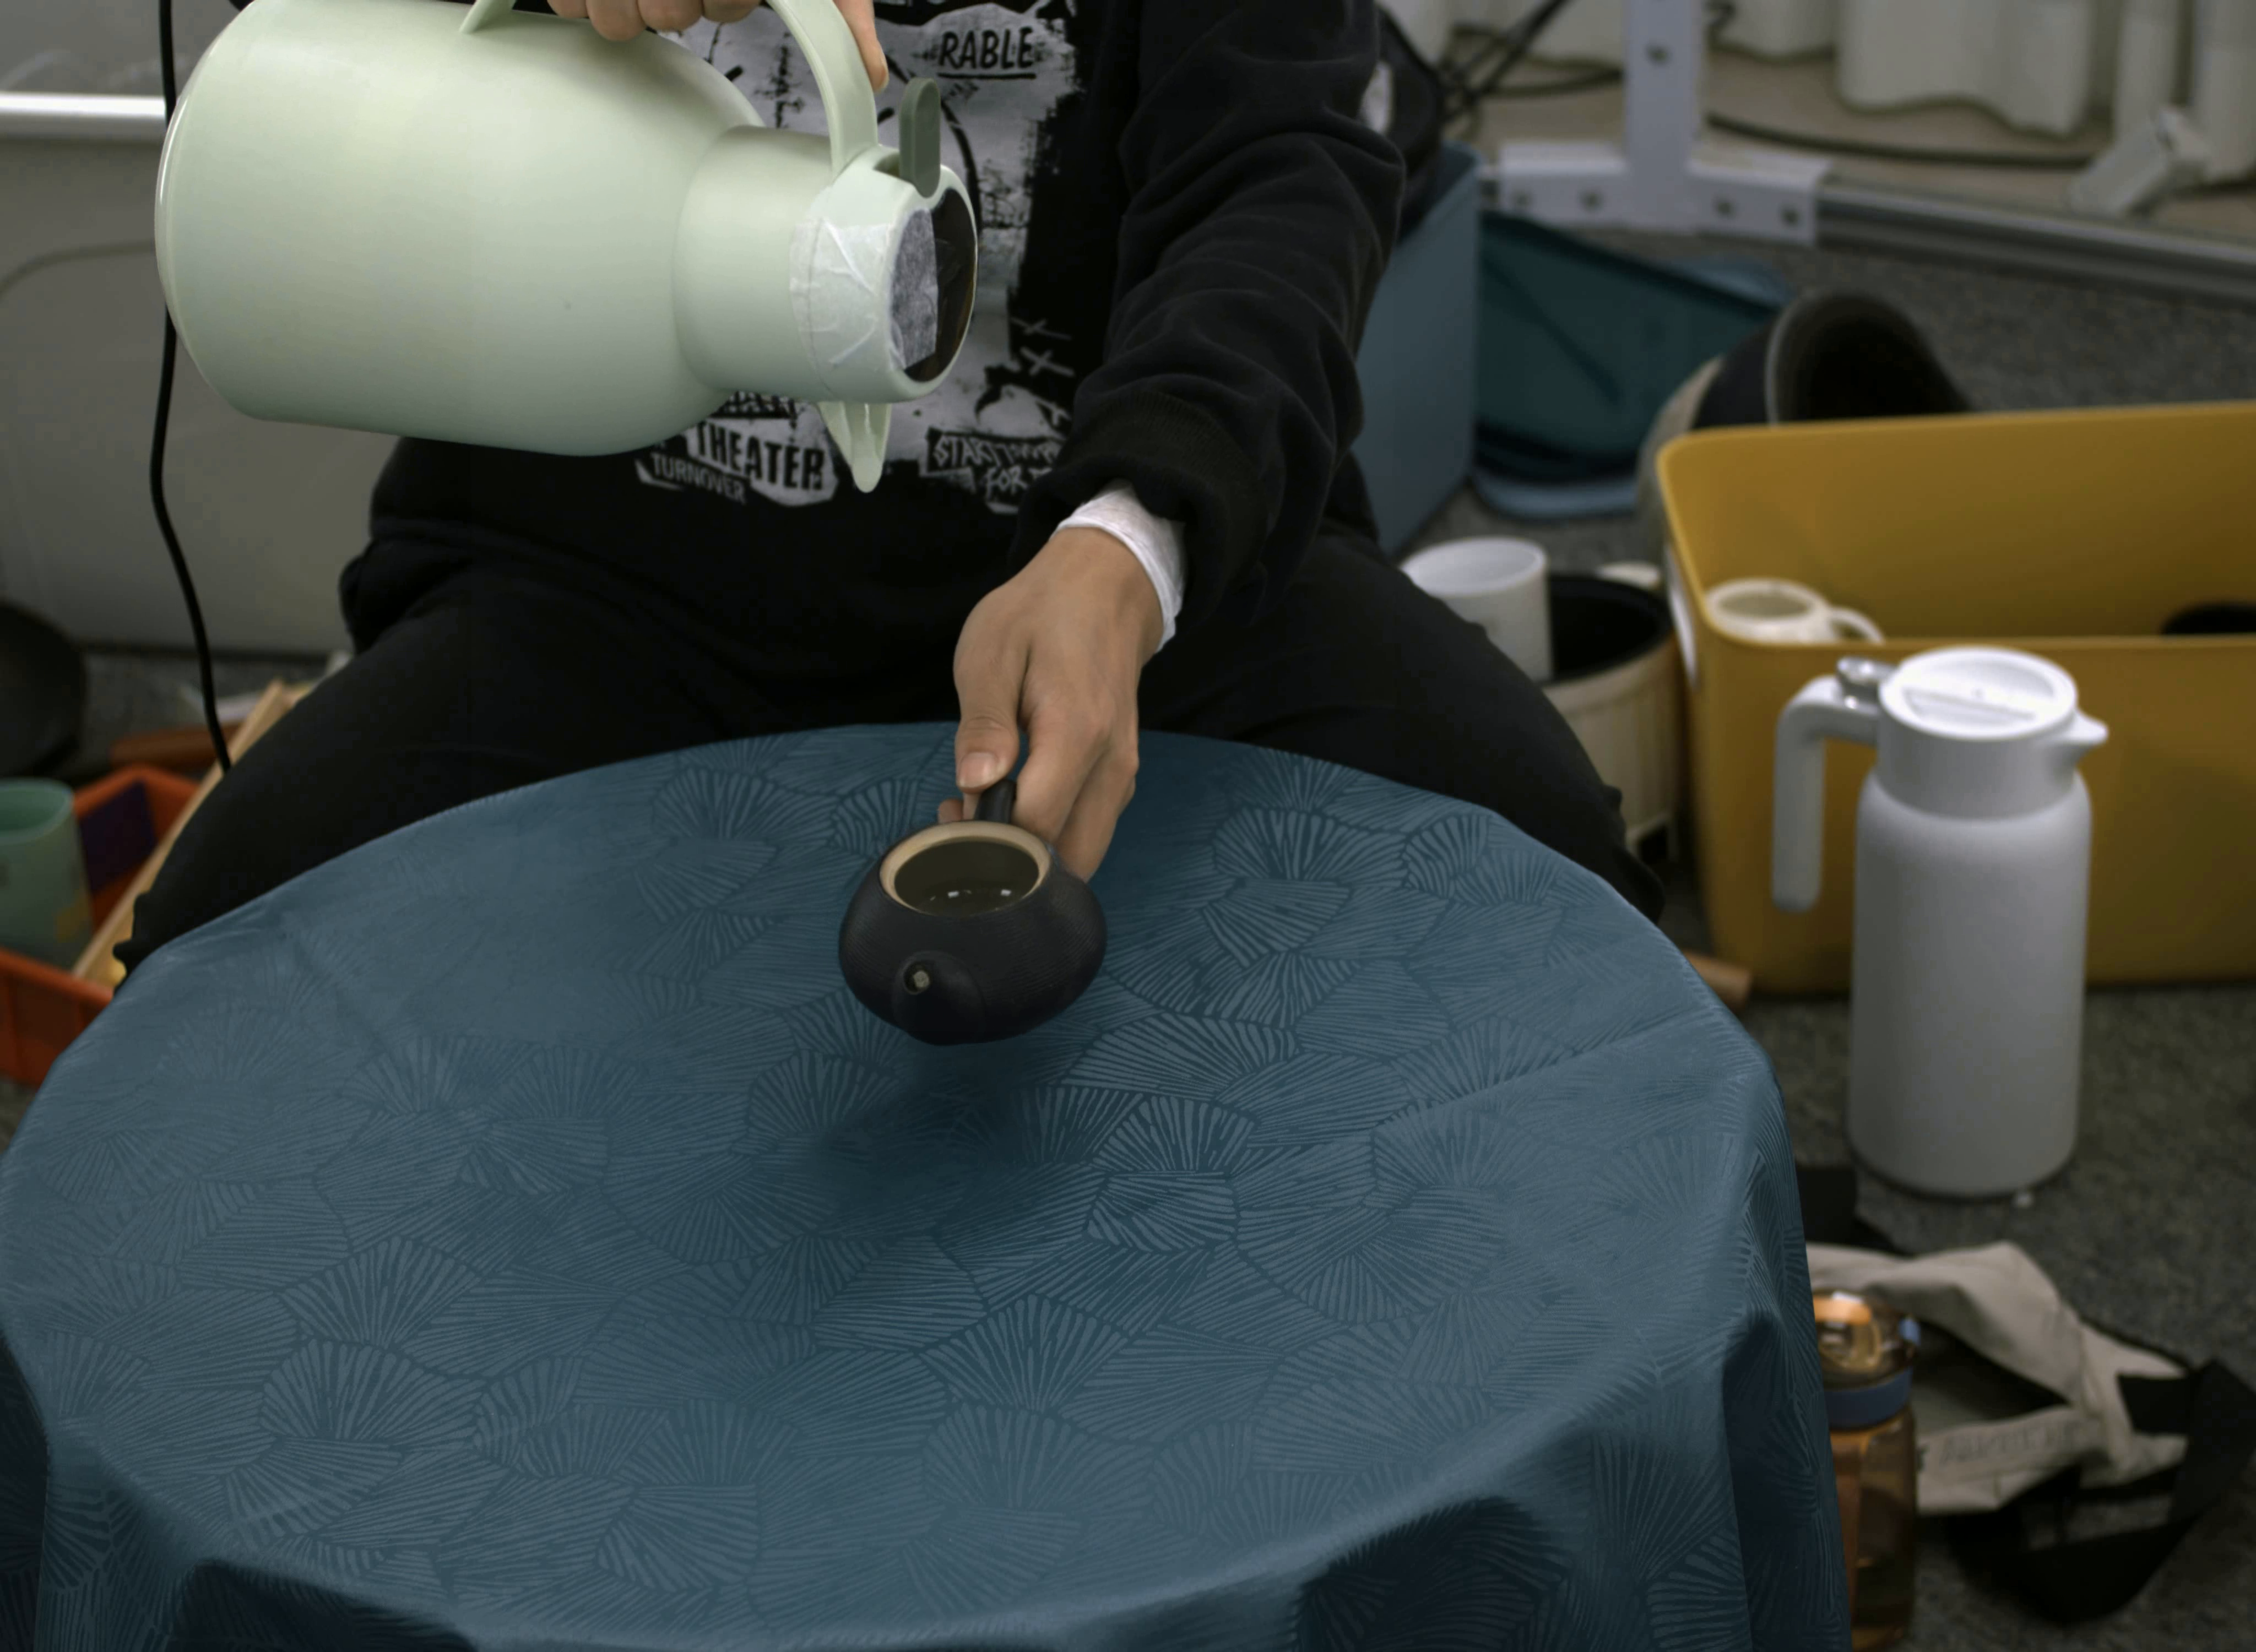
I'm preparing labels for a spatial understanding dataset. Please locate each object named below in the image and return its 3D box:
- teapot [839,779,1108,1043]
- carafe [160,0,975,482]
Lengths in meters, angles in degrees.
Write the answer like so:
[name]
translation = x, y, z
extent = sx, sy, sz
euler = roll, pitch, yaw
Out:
[teapot]
translation = -0.052, 0.035, 1.879
extent = 0.090, 0.052, 0.136
euler = 5, 34, 12
[carafe]
translation = -0.177, -0.208, 1.827
extent = 0.255, 0.185, 0.146
euler = 7, 24, 24
